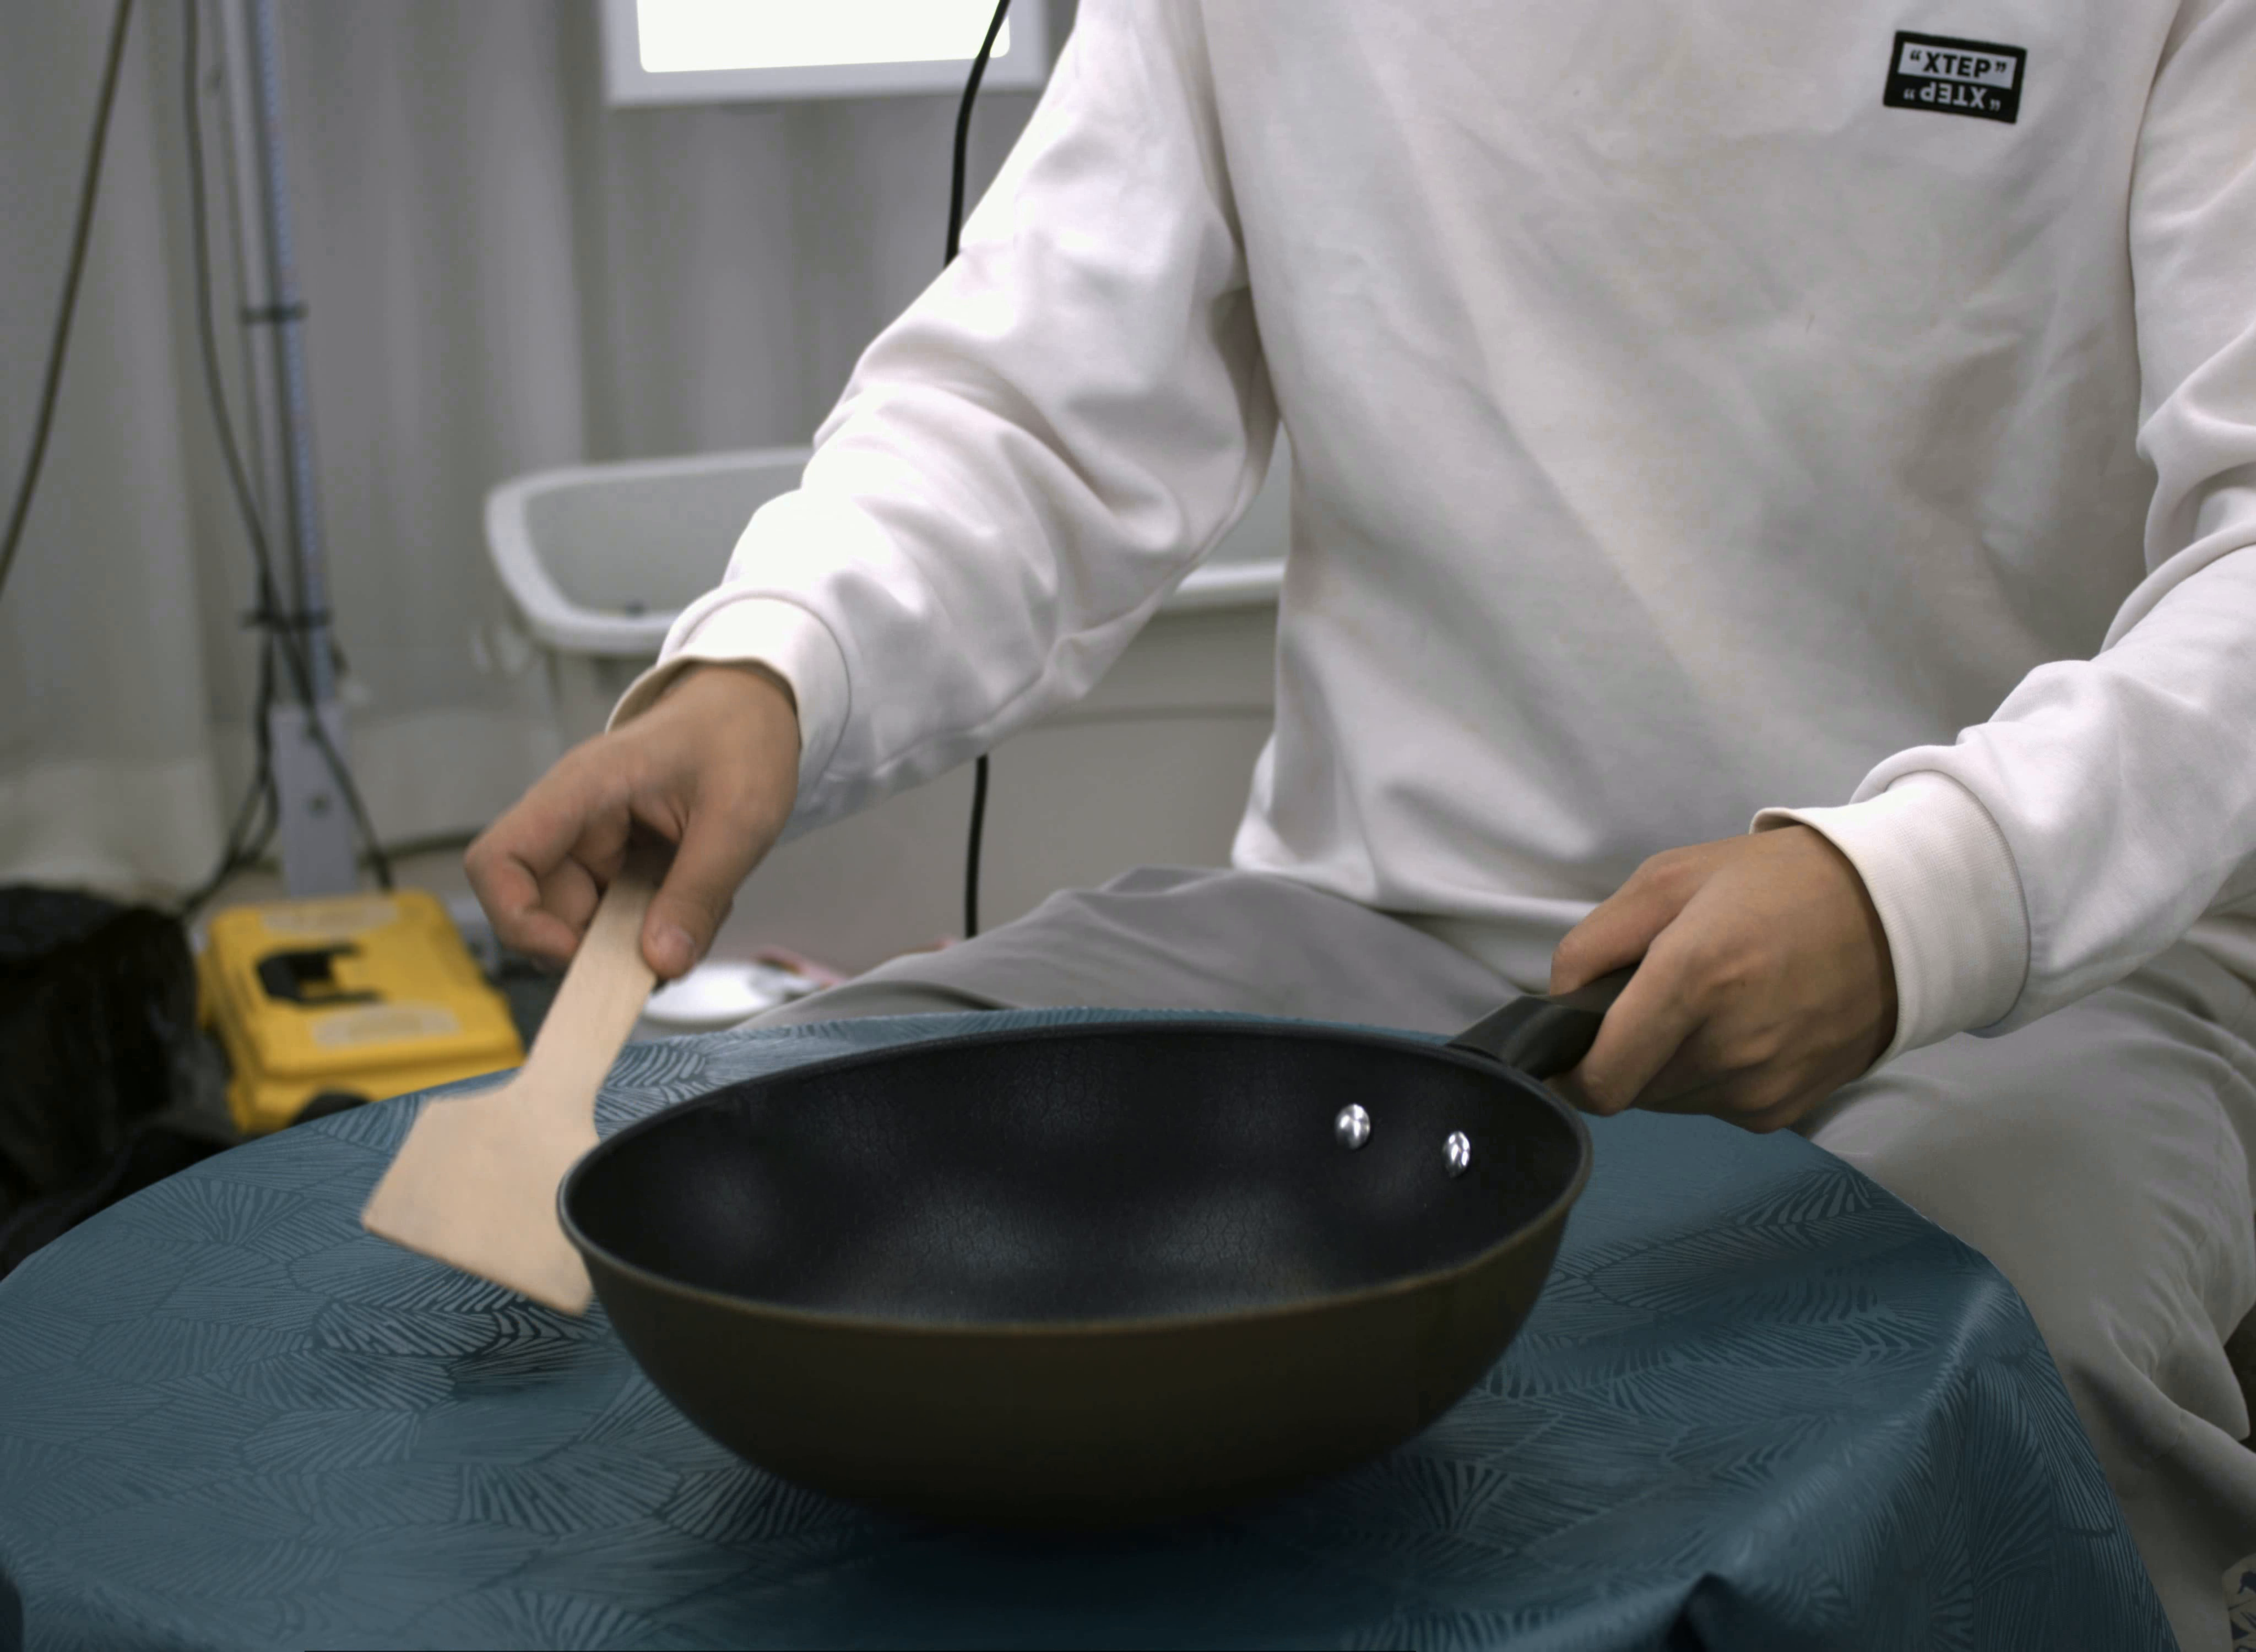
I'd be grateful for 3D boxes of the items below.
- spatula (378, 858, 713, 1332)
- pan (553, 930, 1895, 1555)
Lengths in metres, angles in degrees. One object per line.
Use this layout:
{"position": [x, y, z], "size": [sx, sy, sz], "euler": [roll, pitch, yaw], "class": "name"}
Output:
{"position": [-0.170, 0.075, 1.707], "size": [0.072, 0.010, 0.296], "euler": [22, 25, -3], "class": "spatula"}
{"position": [0.053, 0.112, 1.537], "size": [0.462, 0.086, 0.290], "euler": [-15, 19, -41], "class": "pan"}
